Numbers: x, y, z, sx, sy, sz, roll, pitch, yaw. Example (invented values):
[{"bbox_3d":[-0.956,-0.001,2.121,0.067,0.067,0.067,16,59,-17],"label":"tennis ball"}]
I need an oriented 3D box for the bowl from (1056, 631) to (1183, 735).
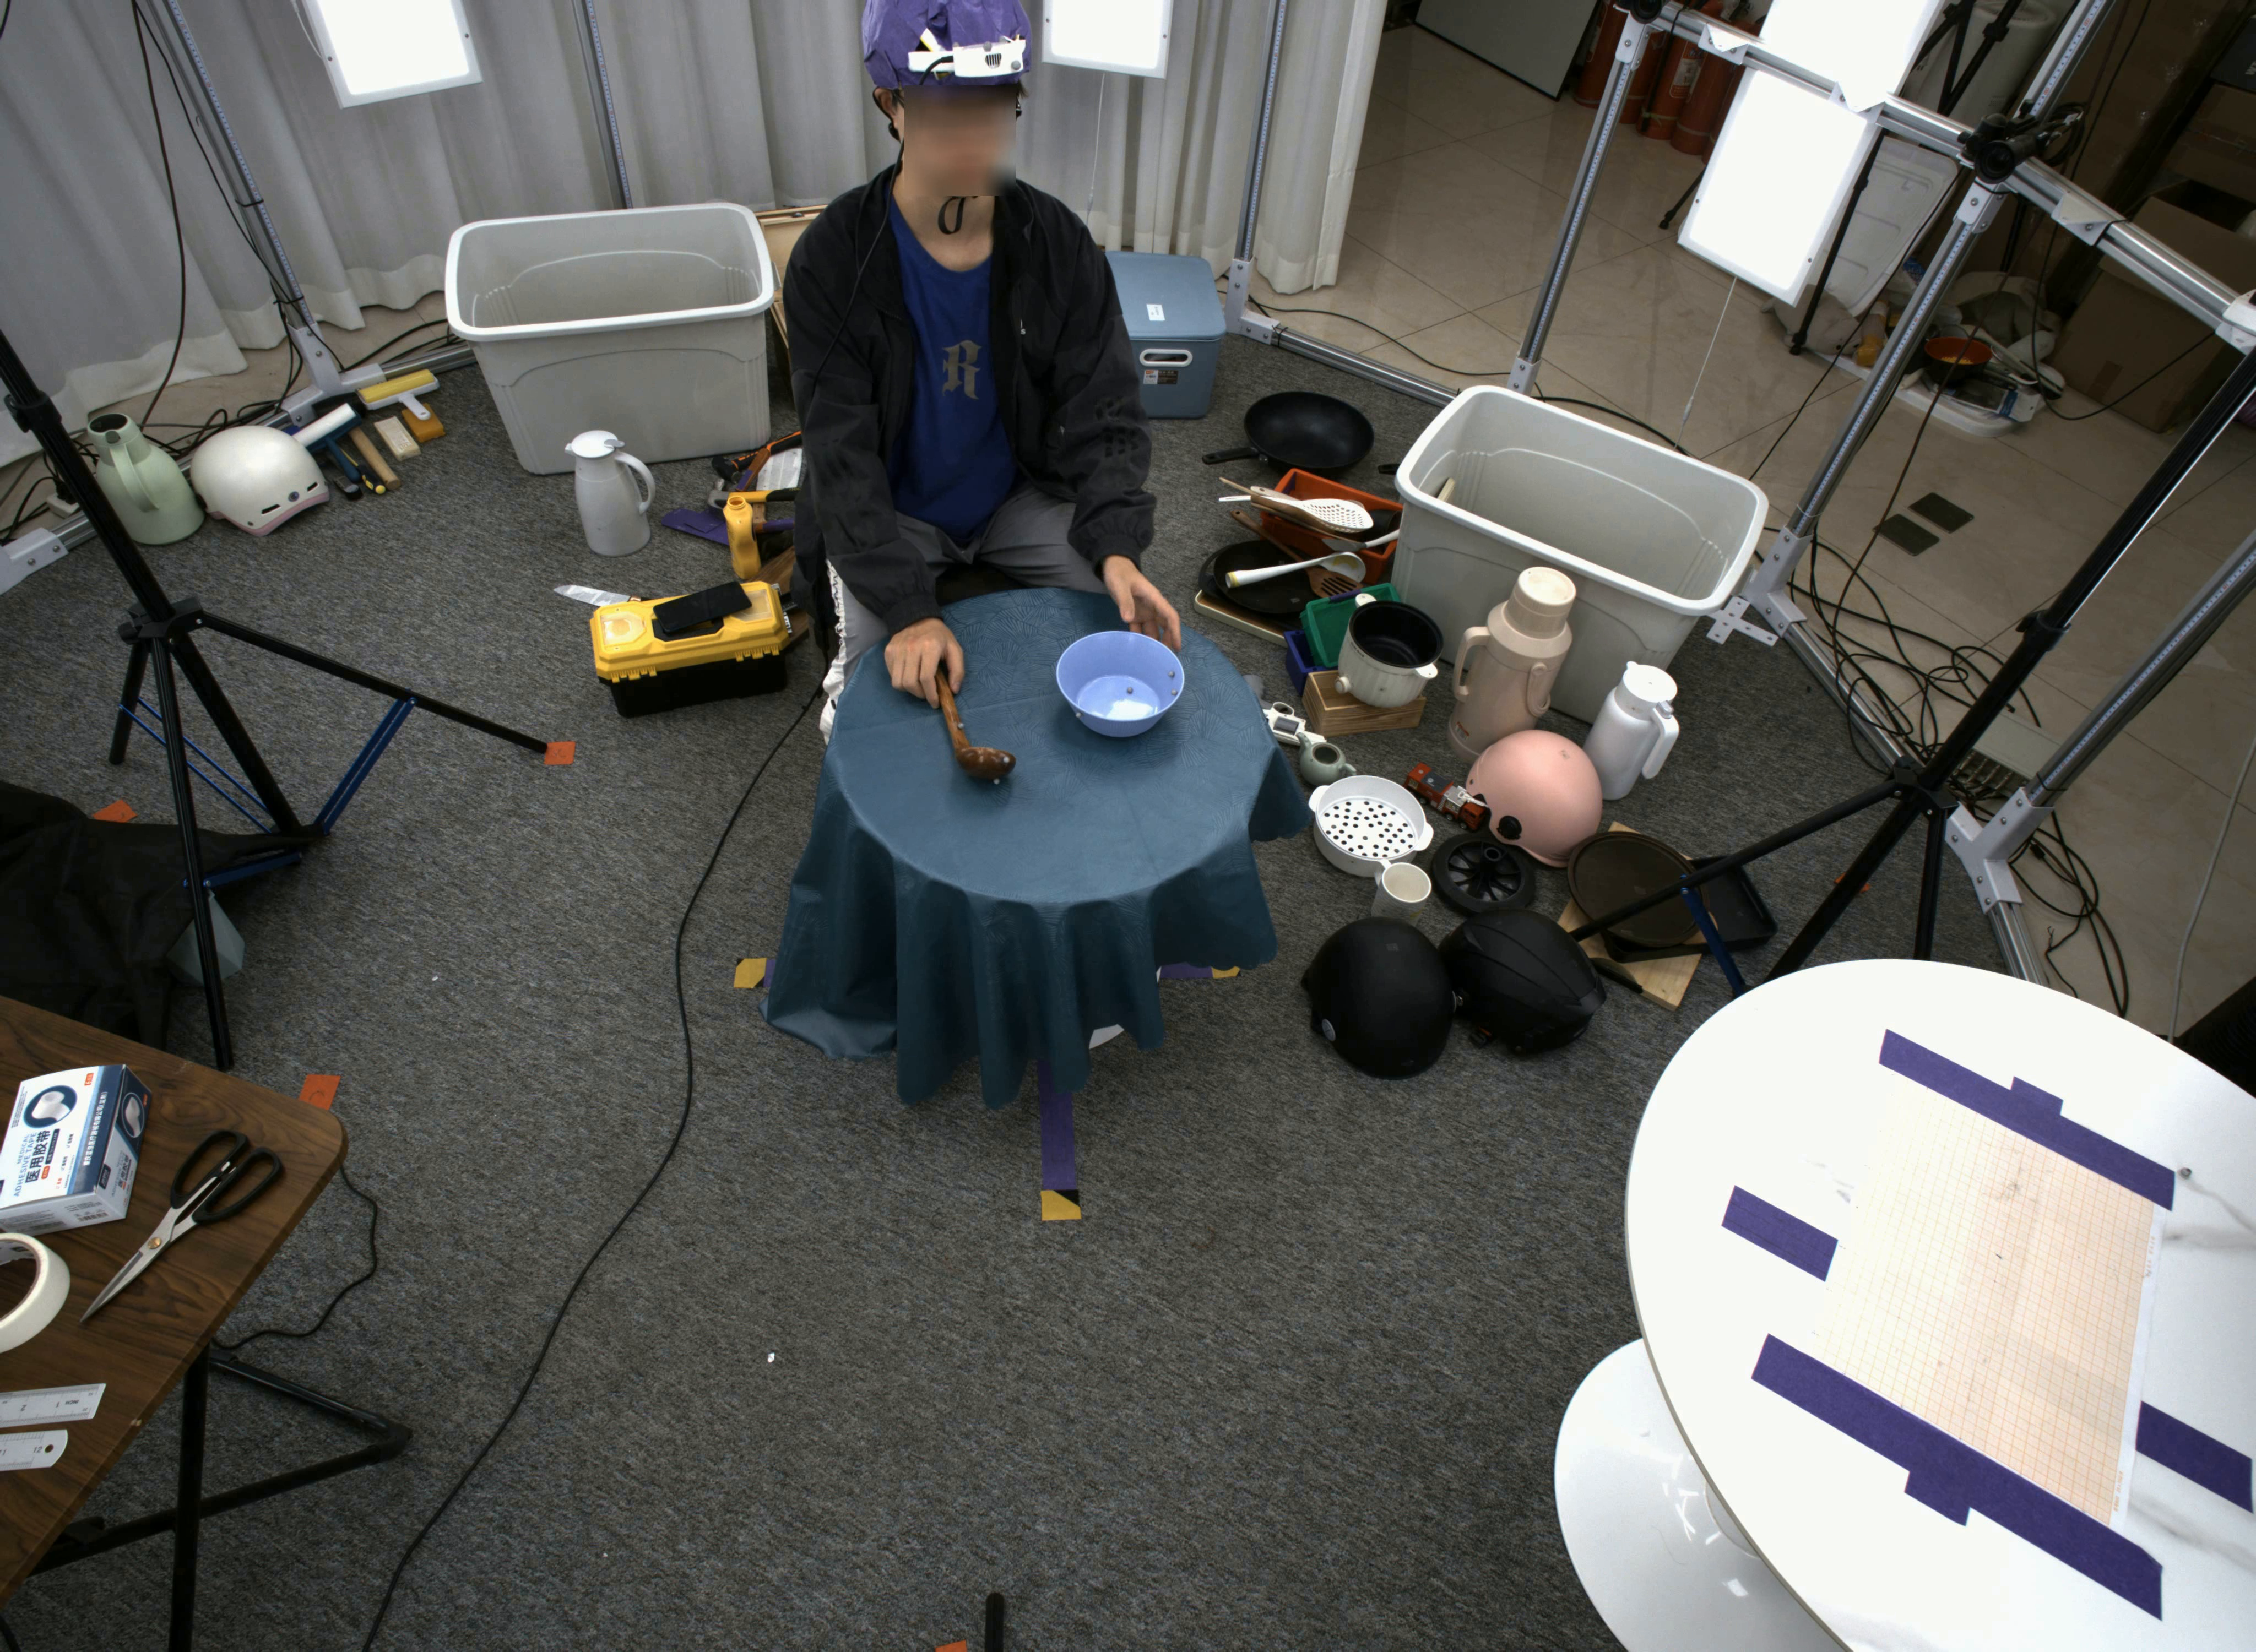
[{"bbox_3d":[-0.013,-0.191,1.791,0.176,0.068,0.180,2,49,-2],"label":"bowl"}]

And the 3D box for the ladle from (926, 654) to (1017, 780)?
[{"bbox_3d":[-0.221,-0.165,1.757,0.080,0.076,0.281,28,30,-43],"label":"ladle"}]
